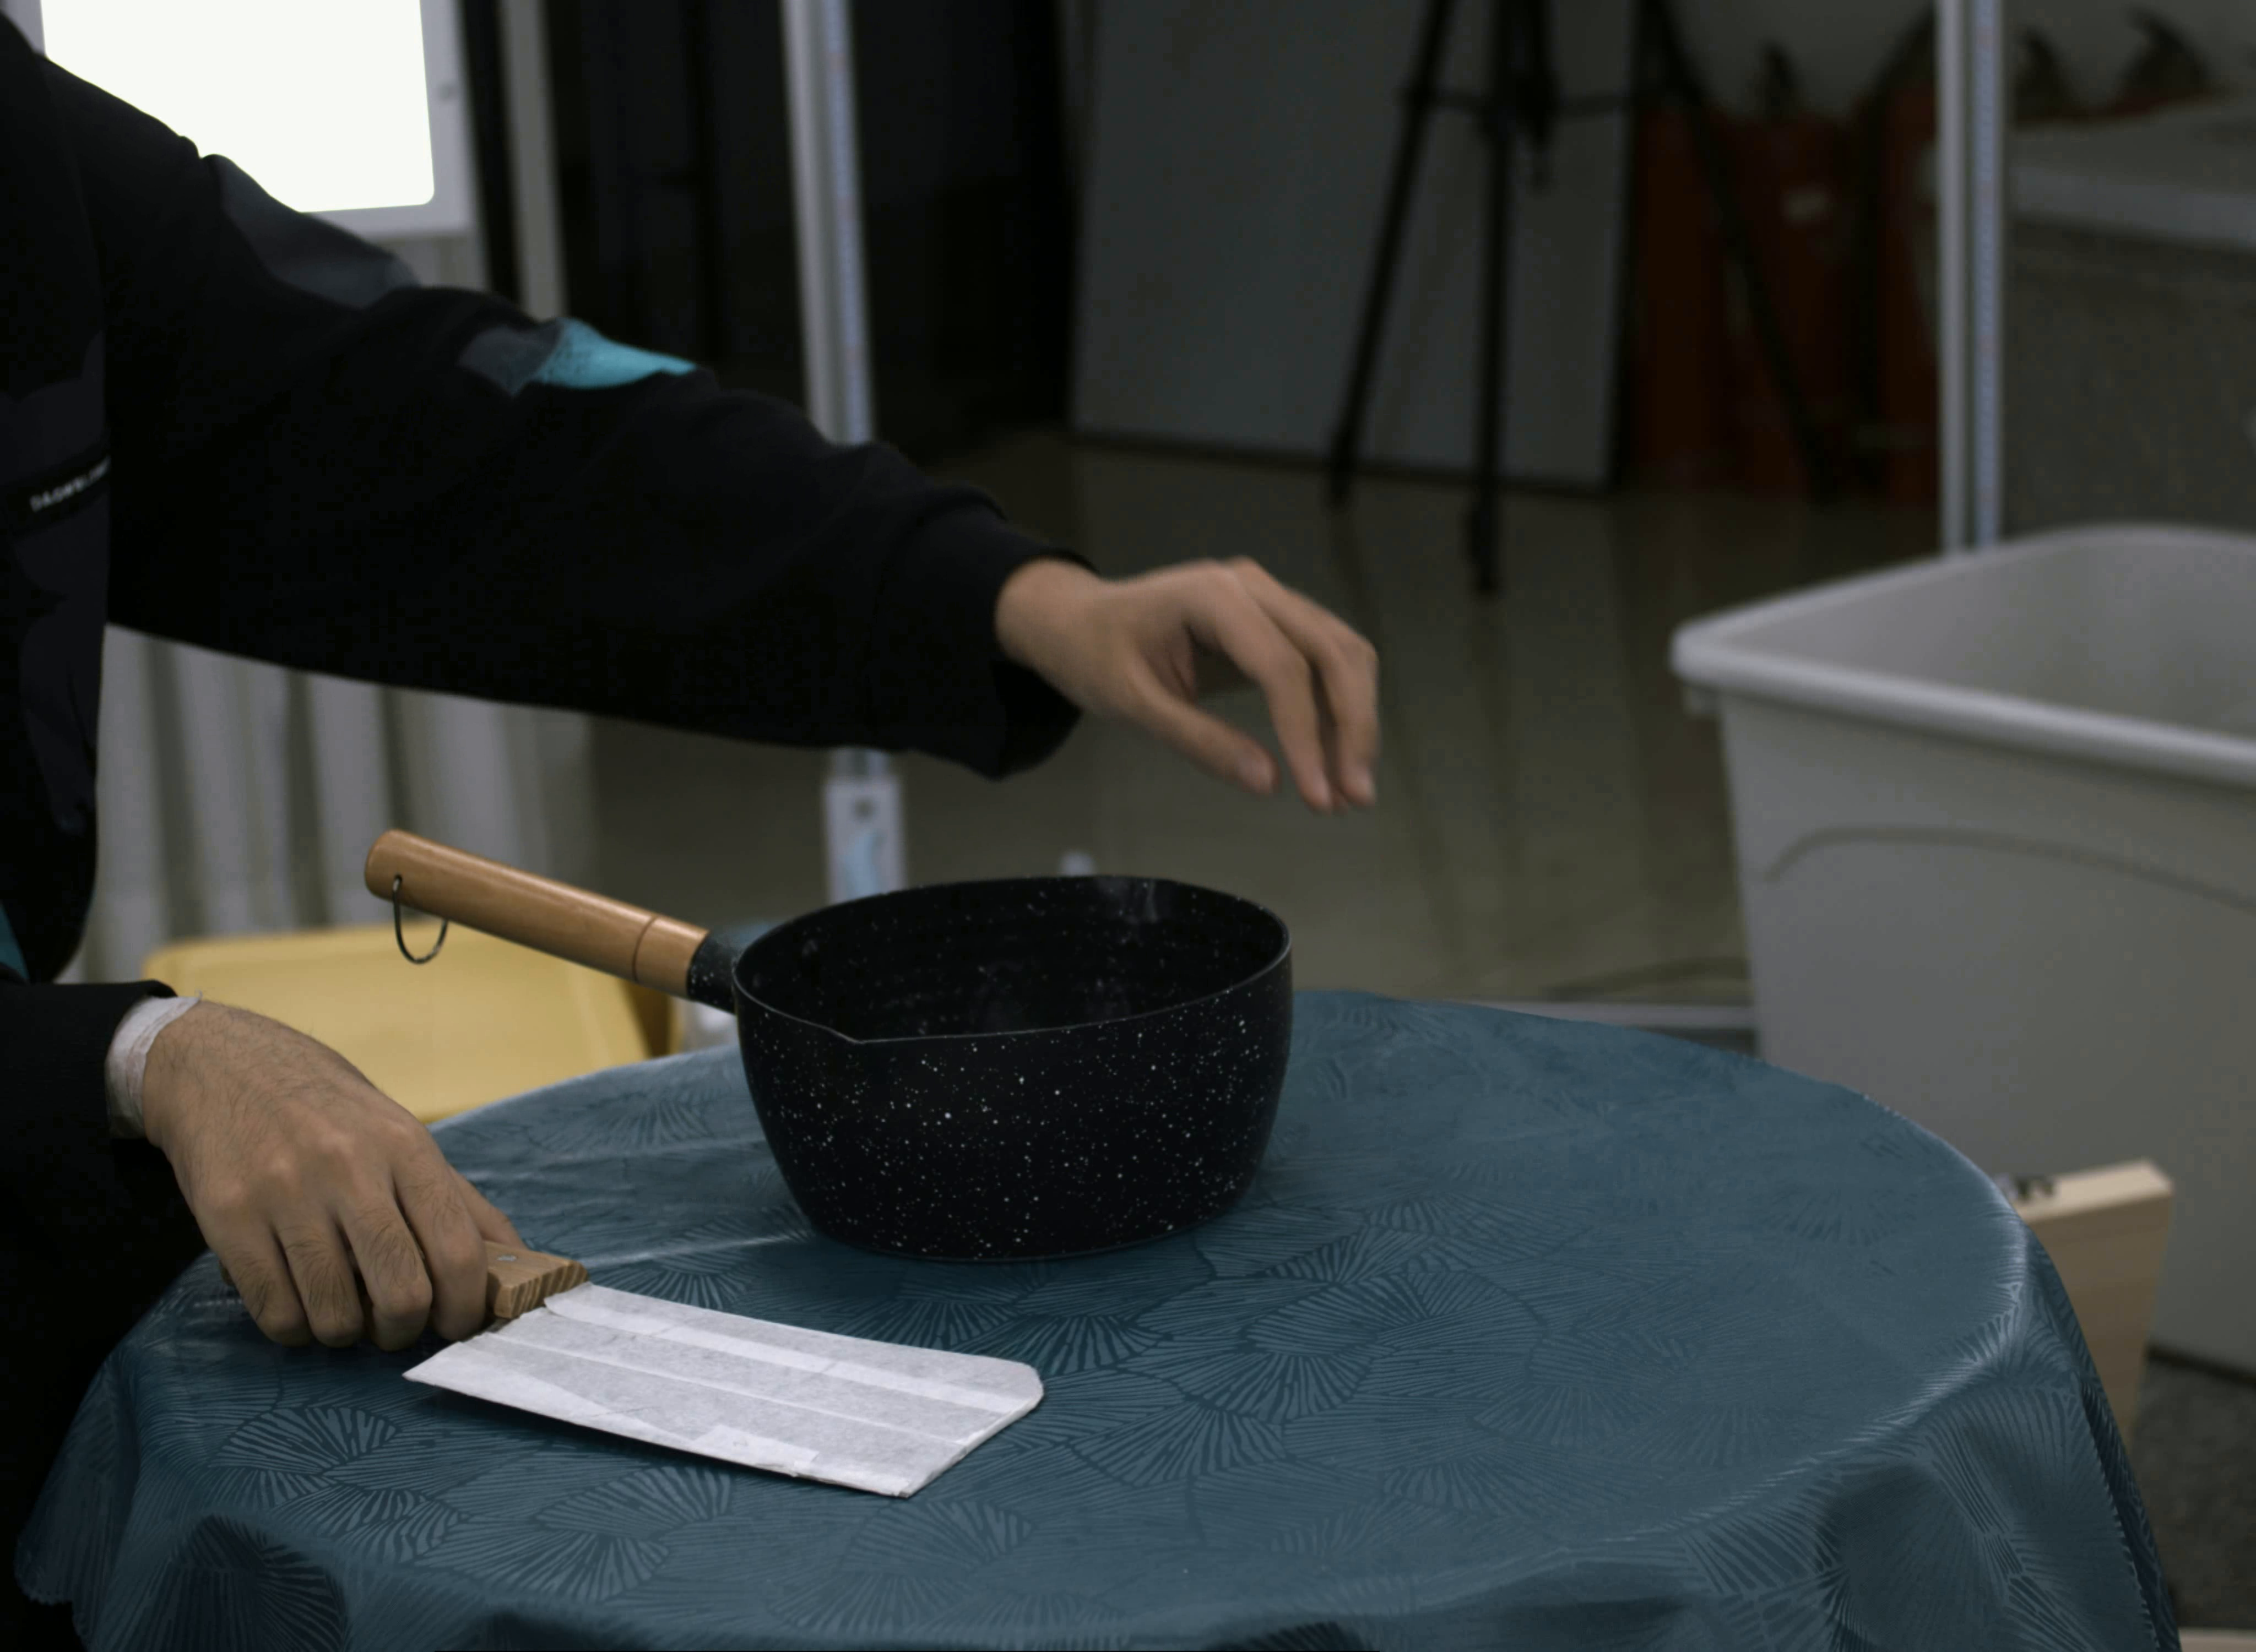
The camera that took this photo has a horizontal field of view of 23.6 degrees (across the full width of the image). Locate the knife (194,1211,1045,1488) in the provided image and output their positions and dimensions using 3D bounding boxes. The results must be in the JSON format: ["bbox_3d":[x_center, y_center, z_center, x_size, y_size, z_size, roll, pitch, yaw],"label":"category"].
[{"bbox_3d":[-0.163,0.156,1.639,0.317,0.022,0.112,10,20,36],"label":"knife"}]

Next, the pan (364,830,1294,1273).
[{"bbox_3d":[-0.107,0.066,1.798,0.343,0.109,0.205,4,16,26],"label":"pan"}]
